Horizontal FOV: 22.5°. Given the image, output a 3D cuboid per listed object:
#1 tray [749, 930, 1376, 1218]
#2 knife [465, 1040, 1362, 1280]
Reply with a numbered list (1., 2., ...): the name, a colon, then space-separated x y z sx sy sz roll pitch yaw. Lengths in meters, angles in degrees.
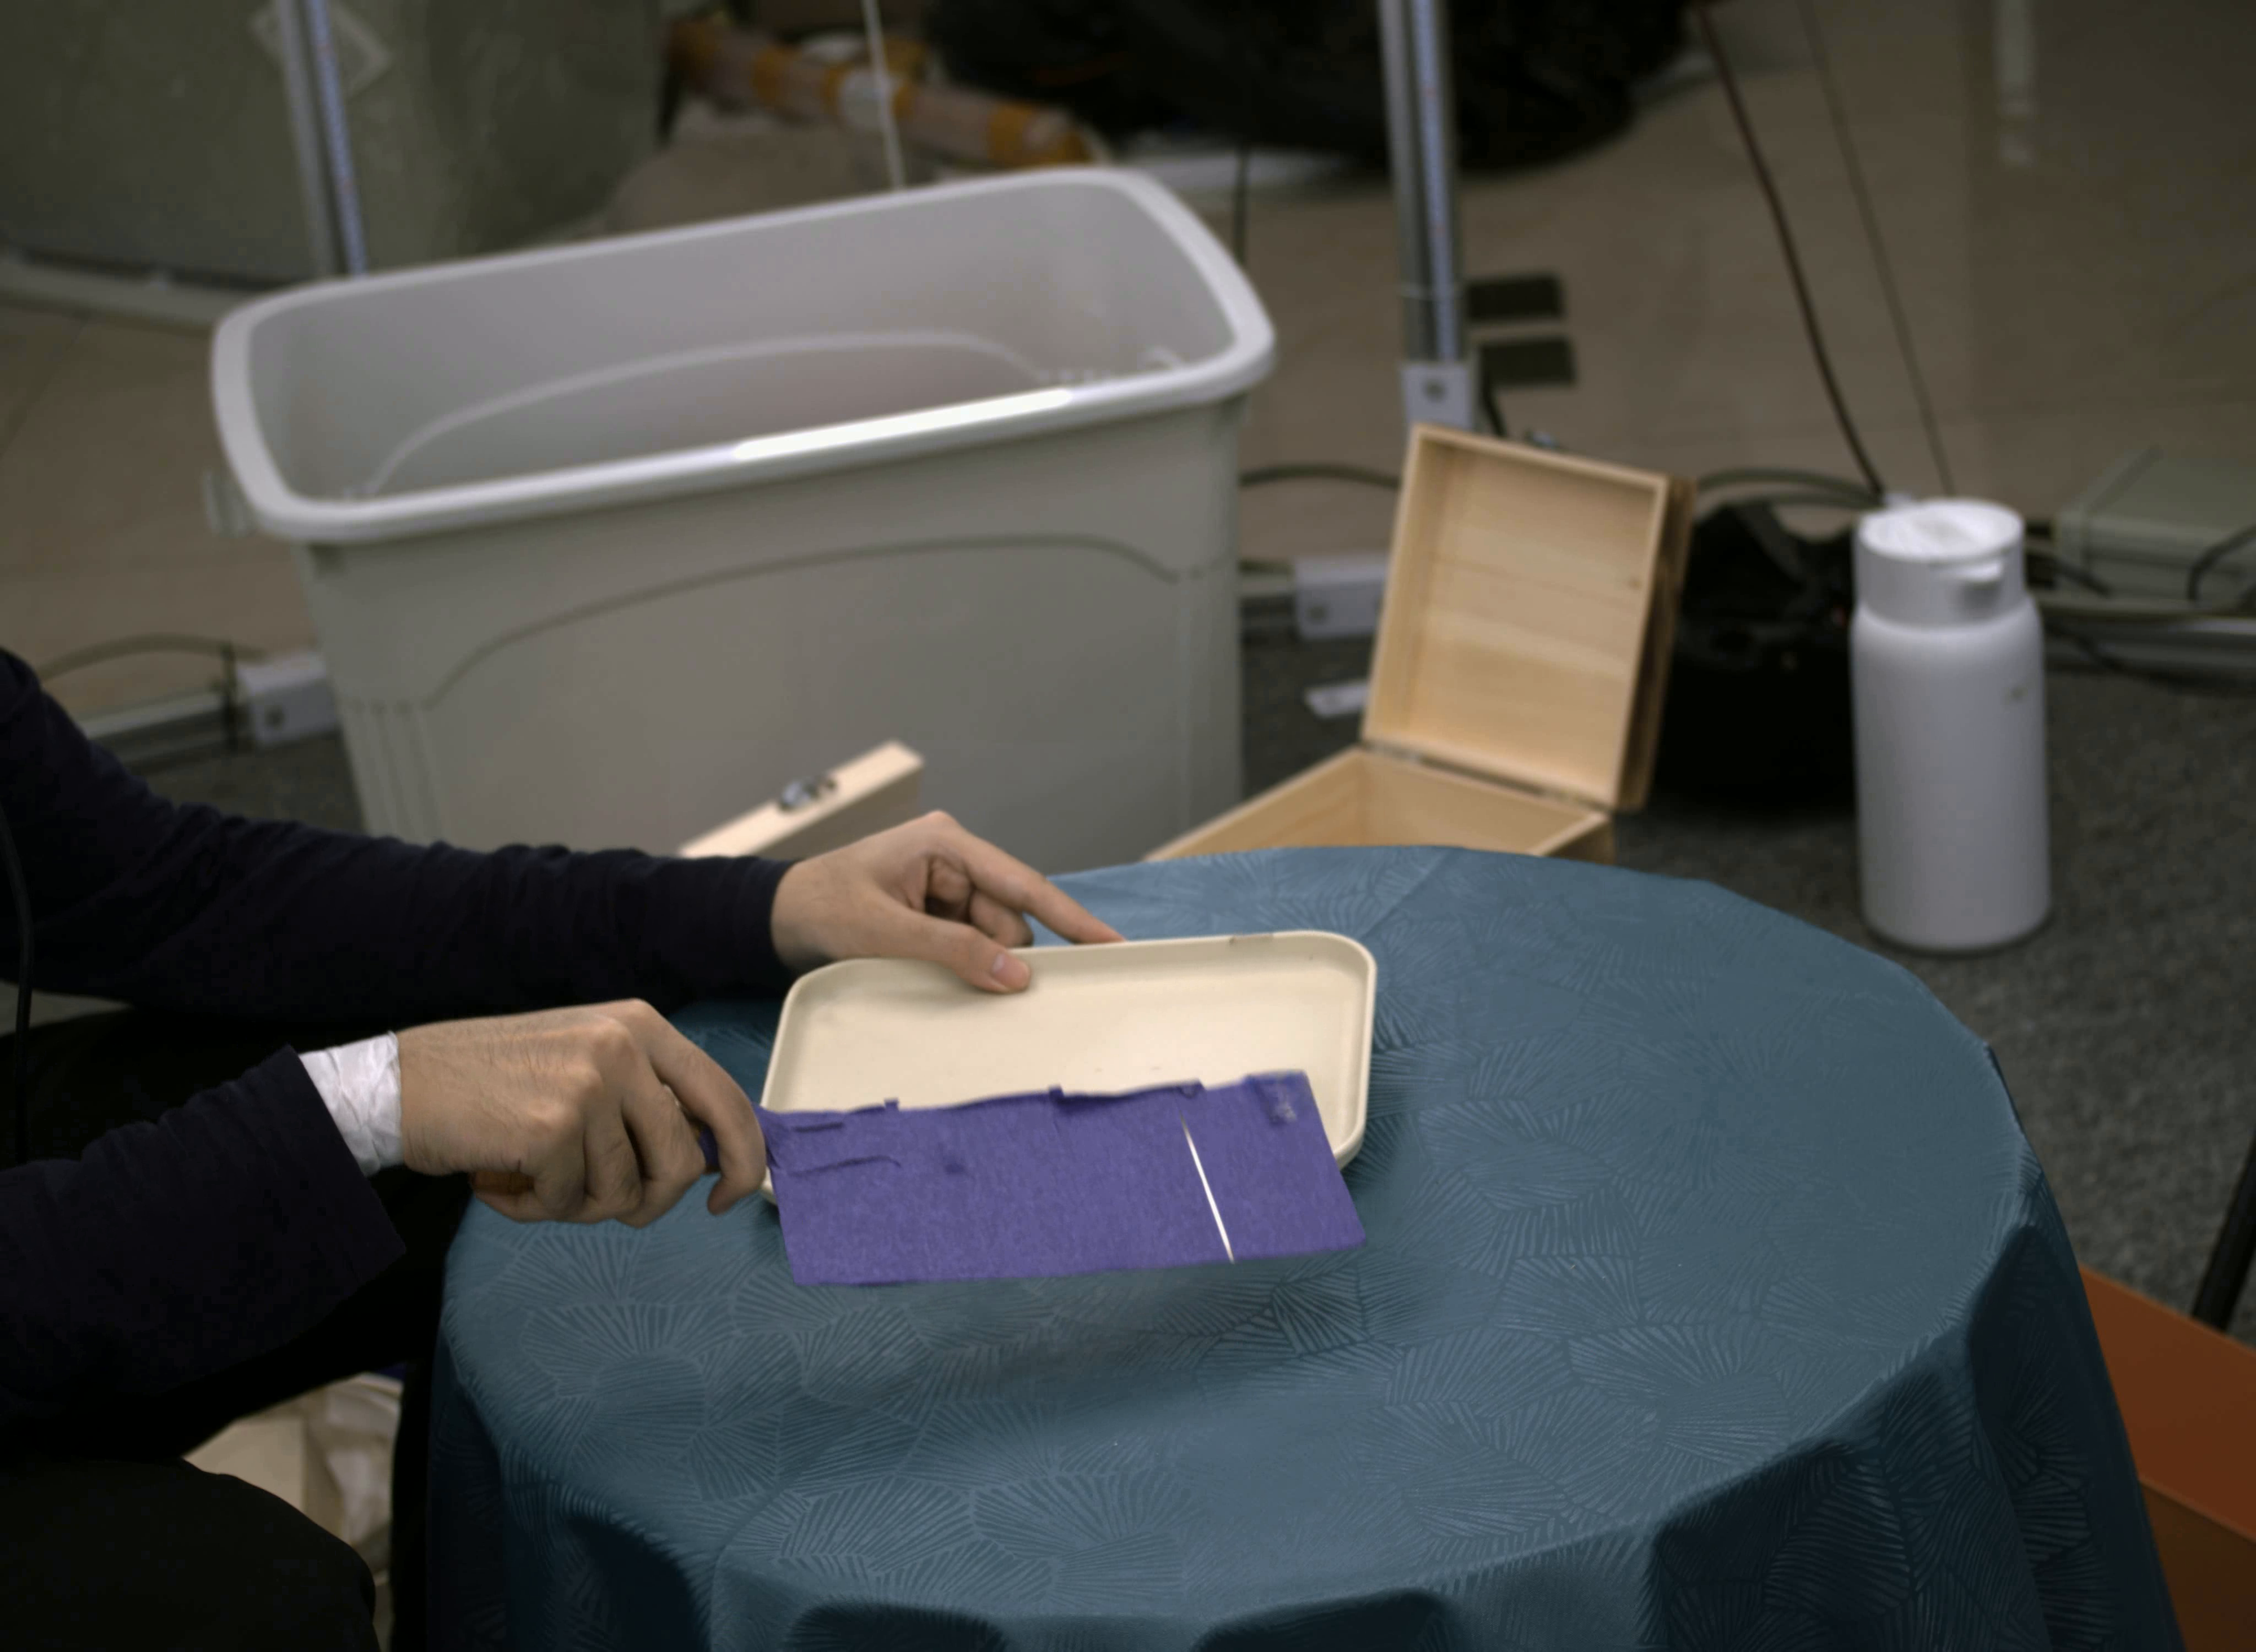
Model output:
1. tray: -0.024 0.098 2.205 0.239 0.018 0.168 -3 32 8
2. knife: -0.075 0.122 2.020 0.314 0.033 0.102 -6 41 -12
